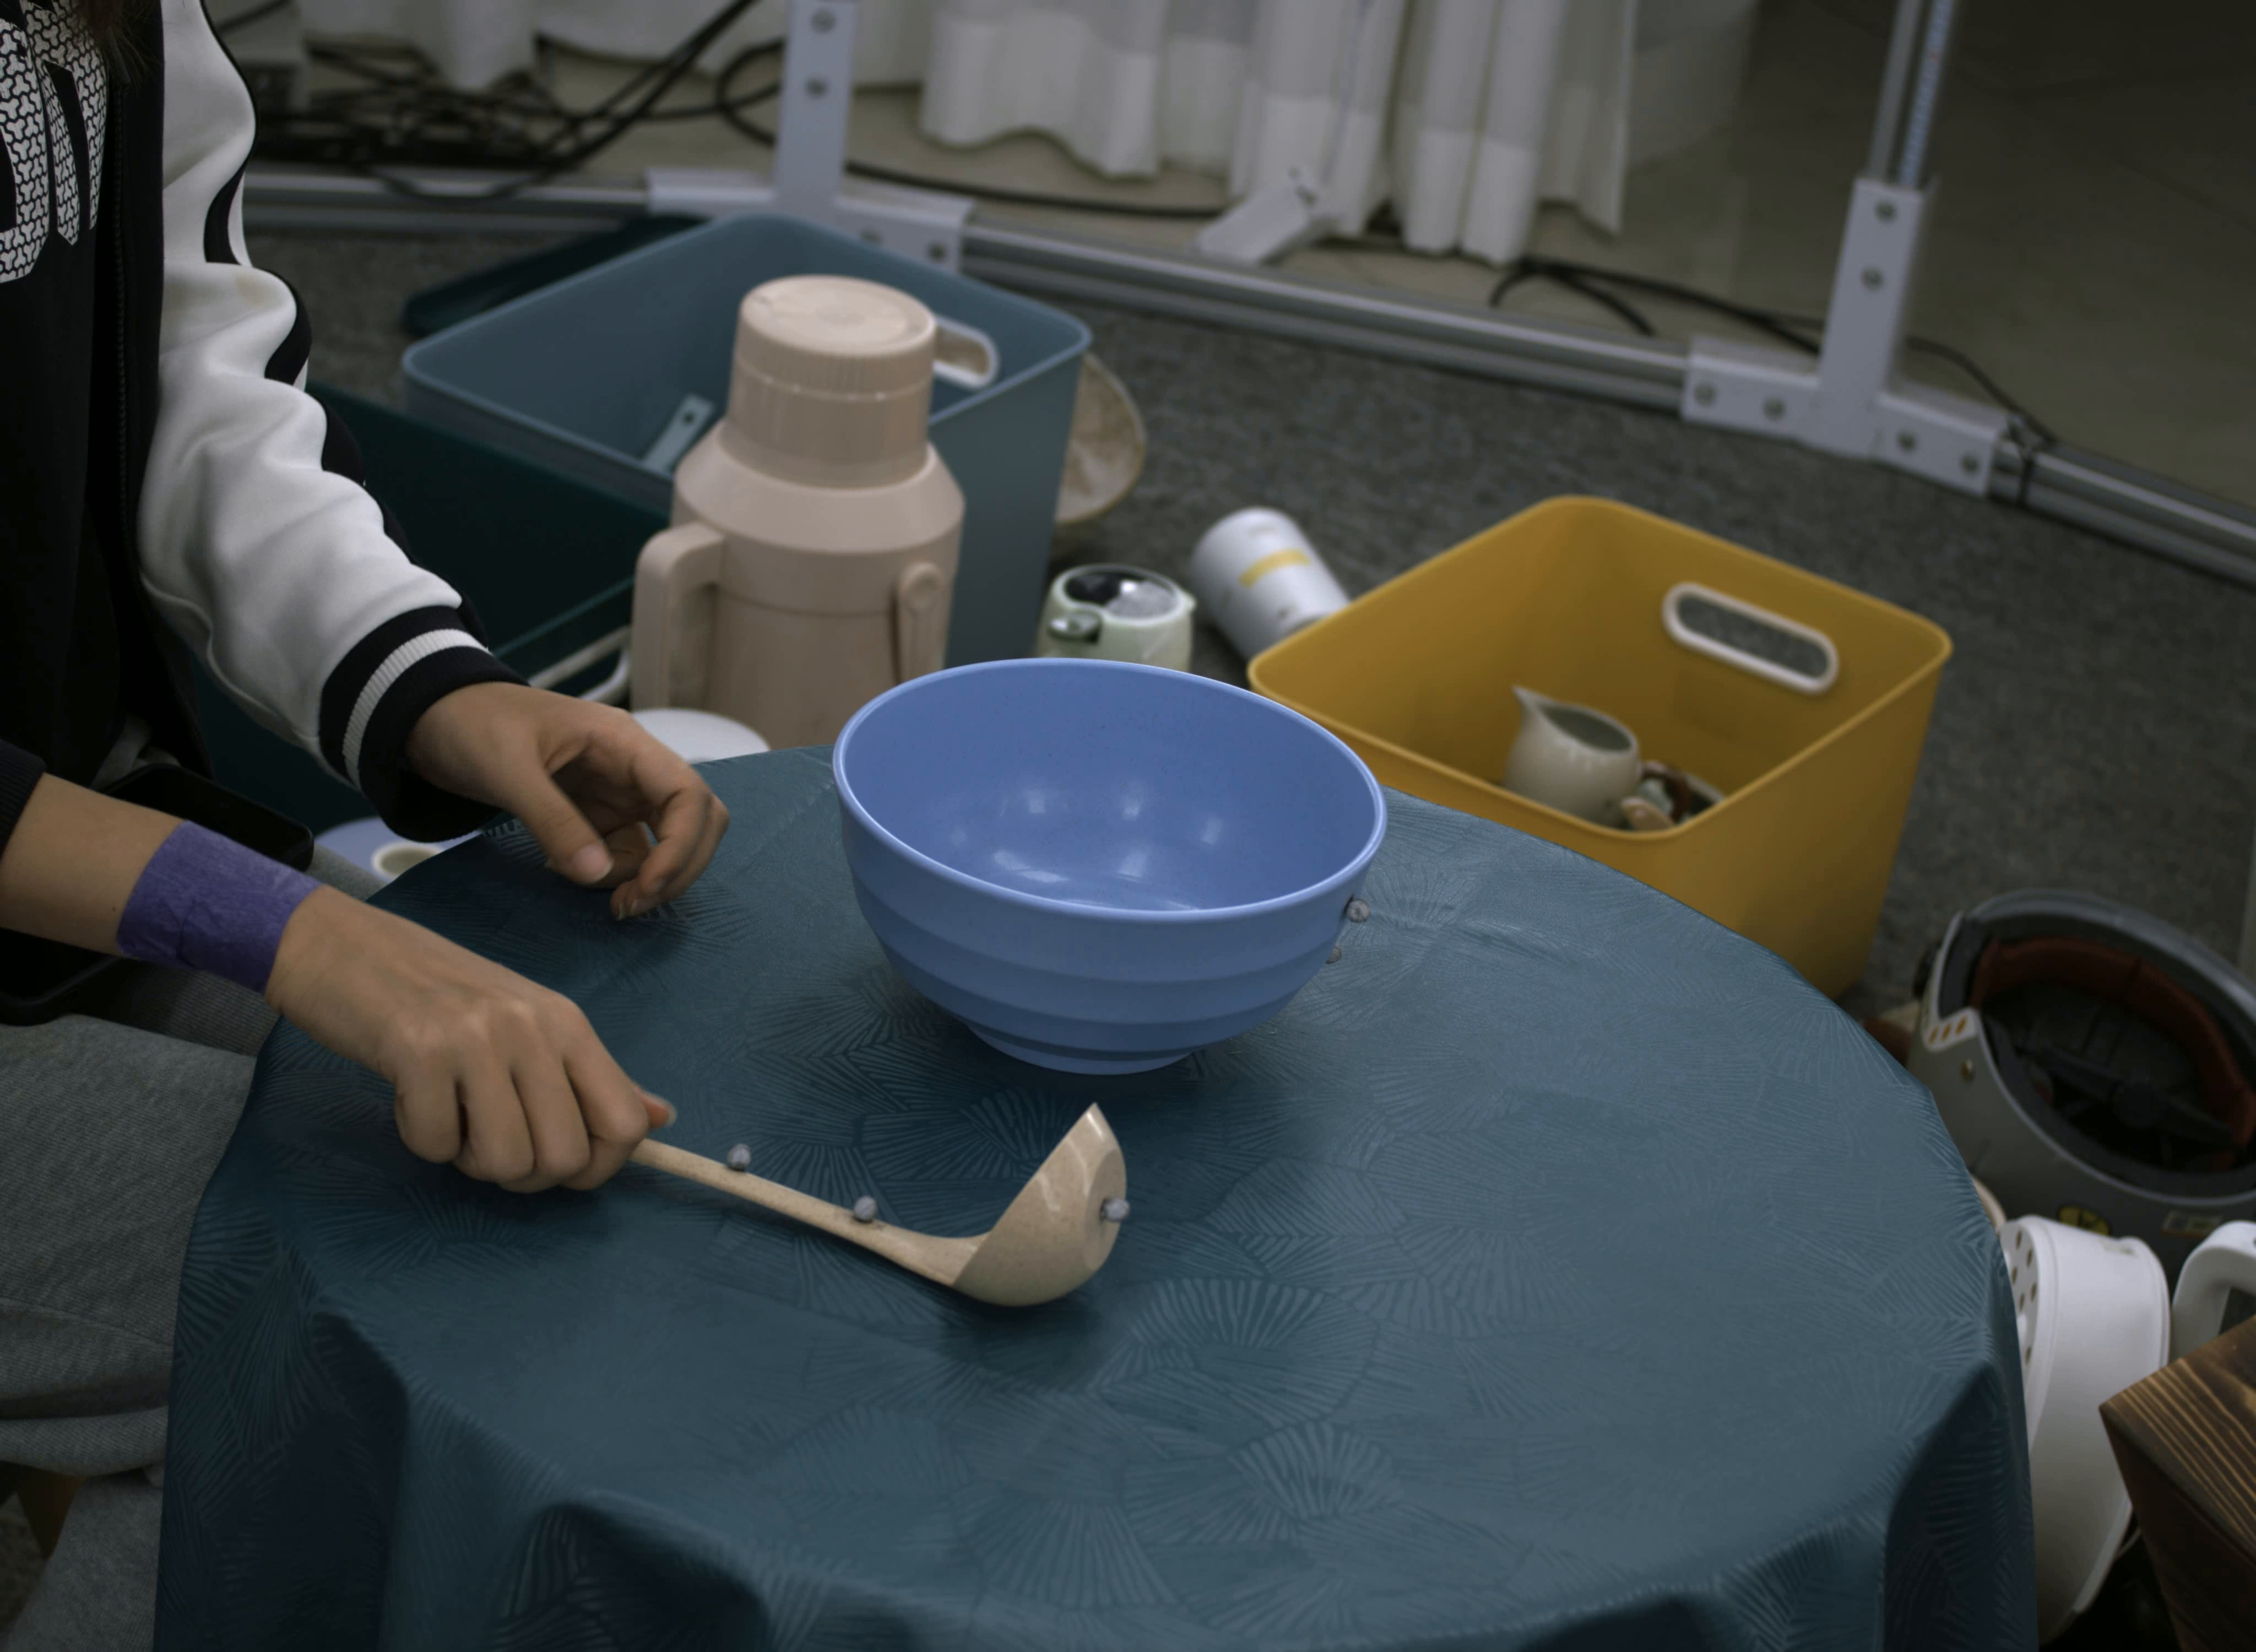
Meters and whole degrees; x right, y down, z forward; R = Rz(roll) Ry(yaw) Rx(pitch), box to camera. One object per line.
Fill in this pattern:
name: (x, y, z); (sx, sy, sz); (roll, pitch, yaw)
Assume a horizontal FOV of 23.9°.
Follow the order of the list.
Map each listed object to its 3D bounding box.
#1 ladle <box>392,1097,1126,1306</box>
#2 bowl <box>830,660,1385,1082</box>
ladle: (-0.125, 0.096, 1.747); (0.255, 0.072, 0.072); (14, 26, 15)
bowl: (-0.011, 0.027, 1.891); (0.196, 0.095, 0.198); (4, 28, -3)
